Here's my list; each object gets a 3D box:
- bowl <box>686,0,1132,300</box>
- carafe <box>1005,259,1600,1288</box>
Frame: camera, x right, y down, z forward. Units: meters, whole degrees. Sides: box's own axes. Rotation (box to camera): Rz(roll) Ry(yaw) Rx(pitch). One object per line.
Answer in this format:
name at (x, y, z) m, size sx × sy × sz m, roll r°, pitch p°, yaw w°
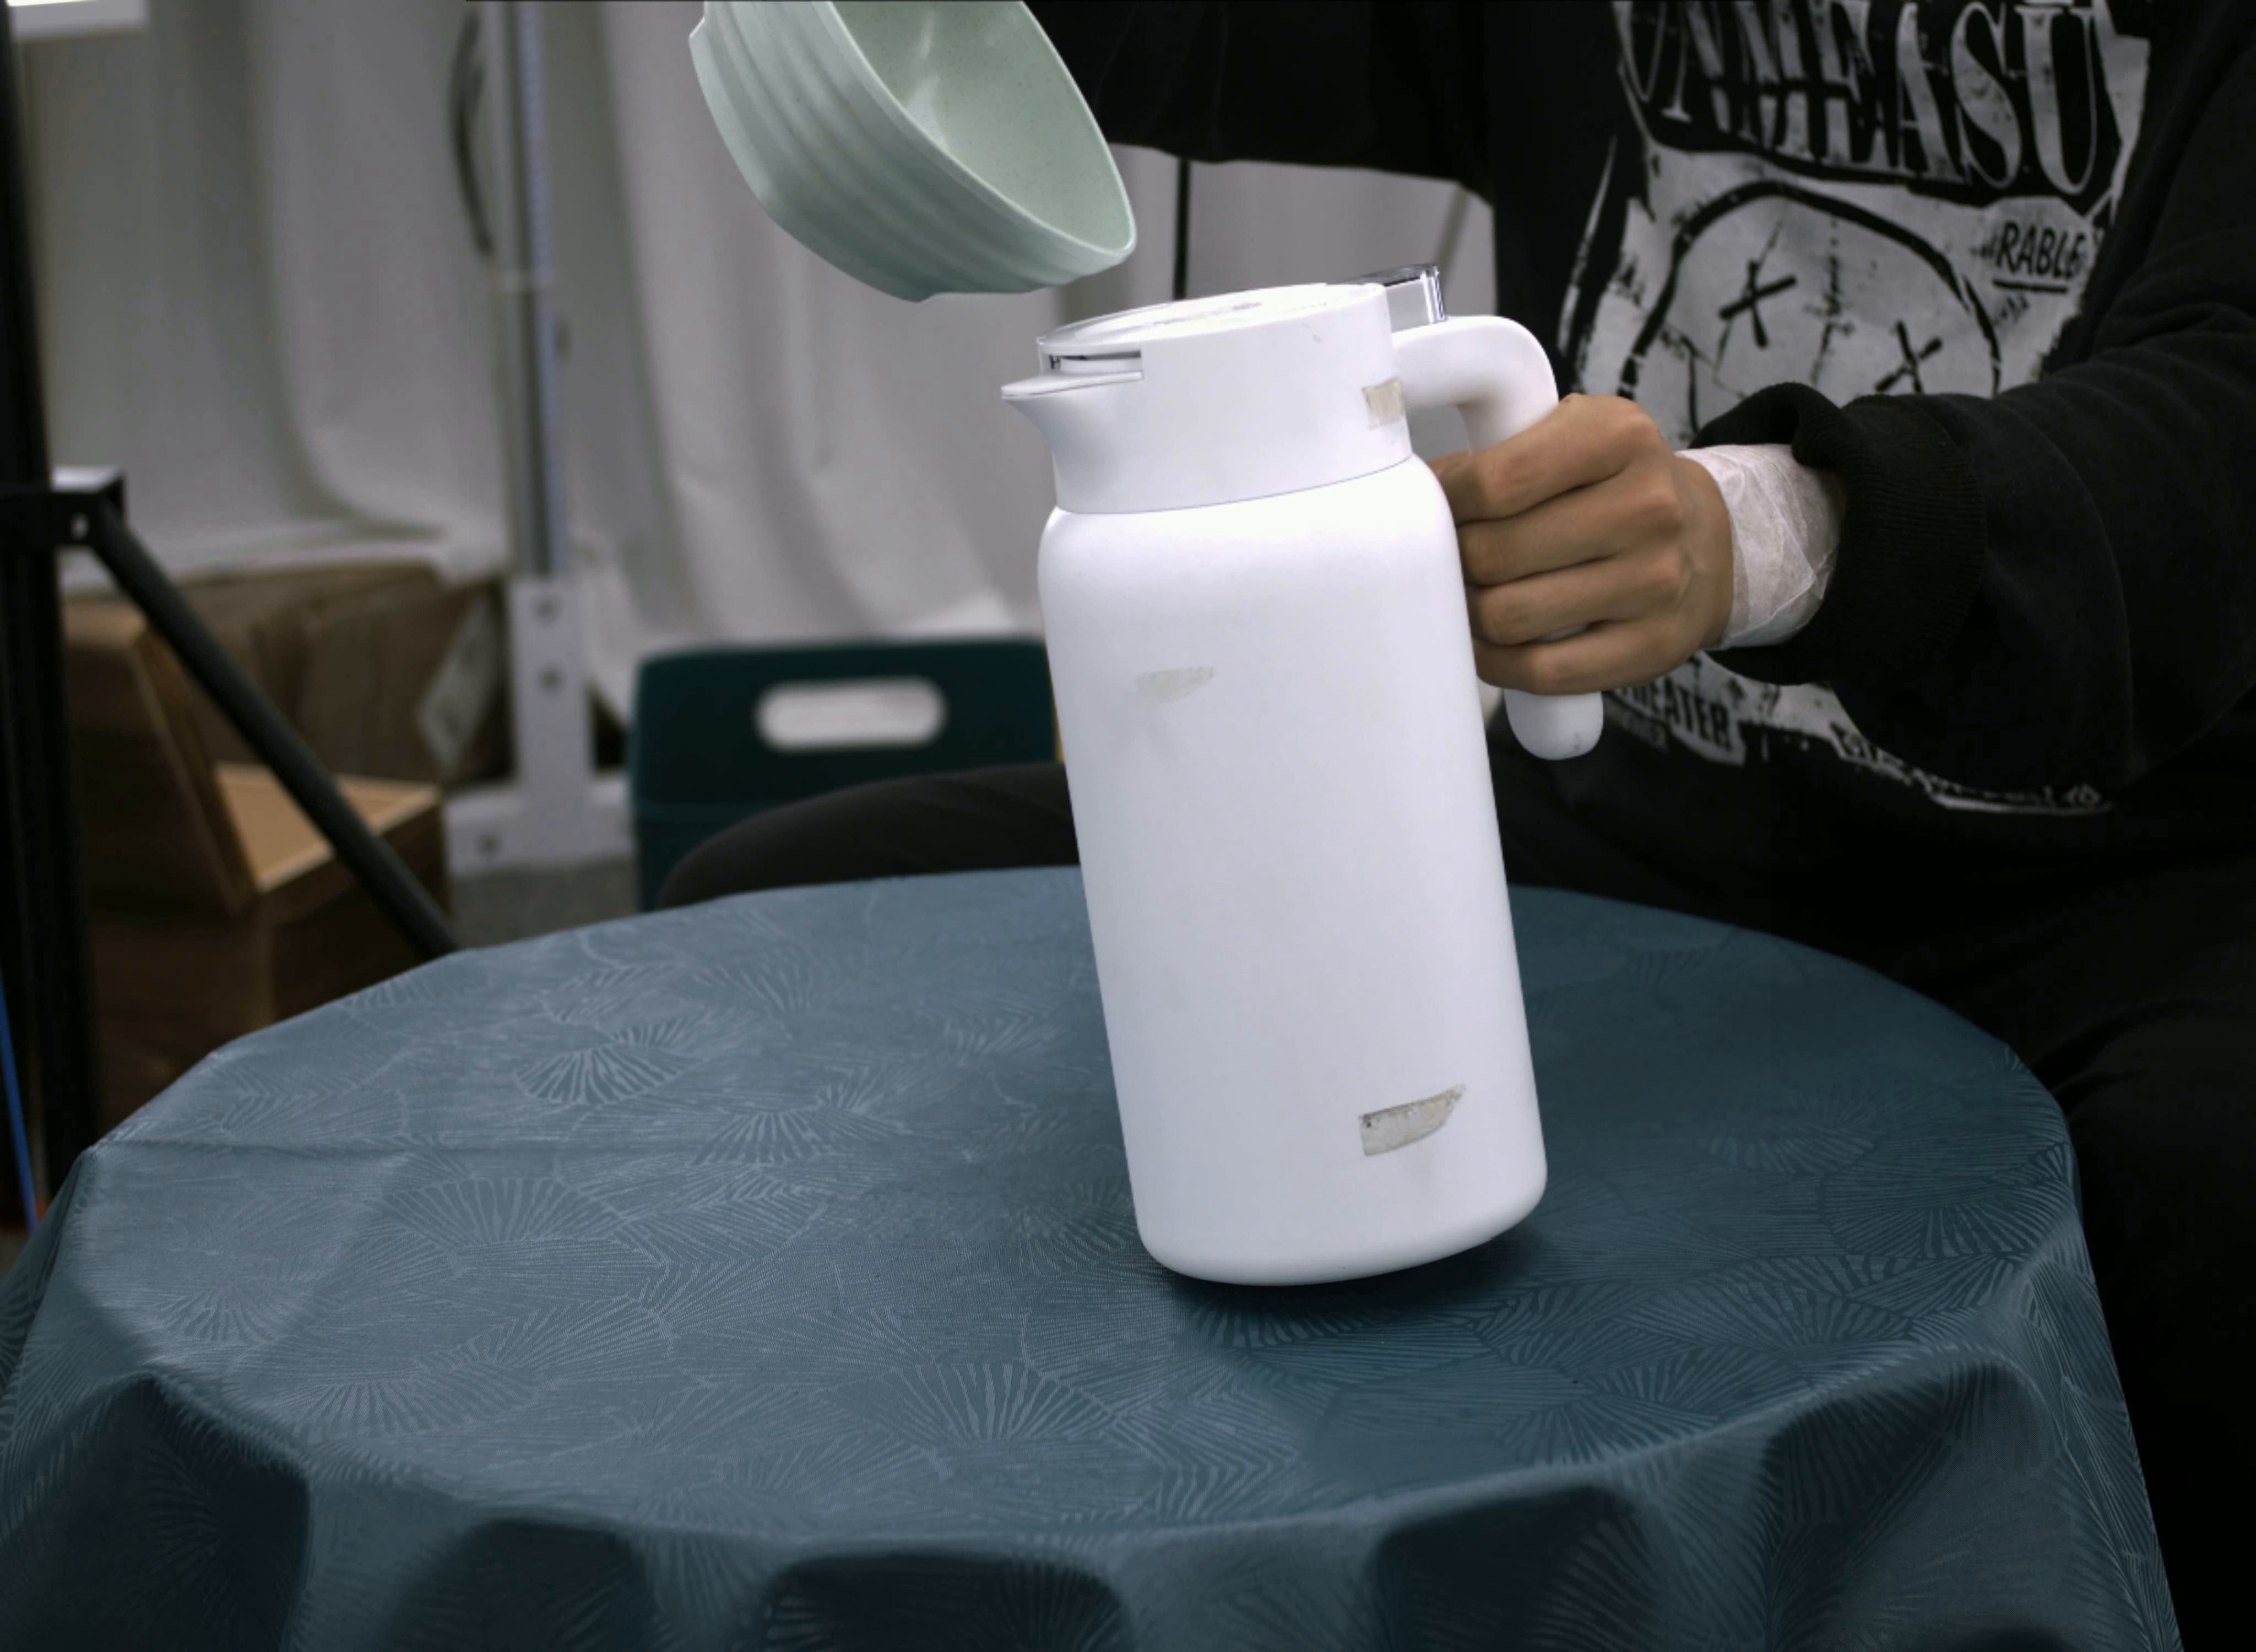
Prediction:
bowl at (-0.069, -0.198, 1.466) m, size 0.059 × 0.151 × 0.150 m, roll -38°, pitch 4°, yaw 20°
carafe at (0.056, -0.018, 1.481) m, size 0.169 × 0.269 × 0.126 m, roll -15°, pitch 9°, yaw -31°
